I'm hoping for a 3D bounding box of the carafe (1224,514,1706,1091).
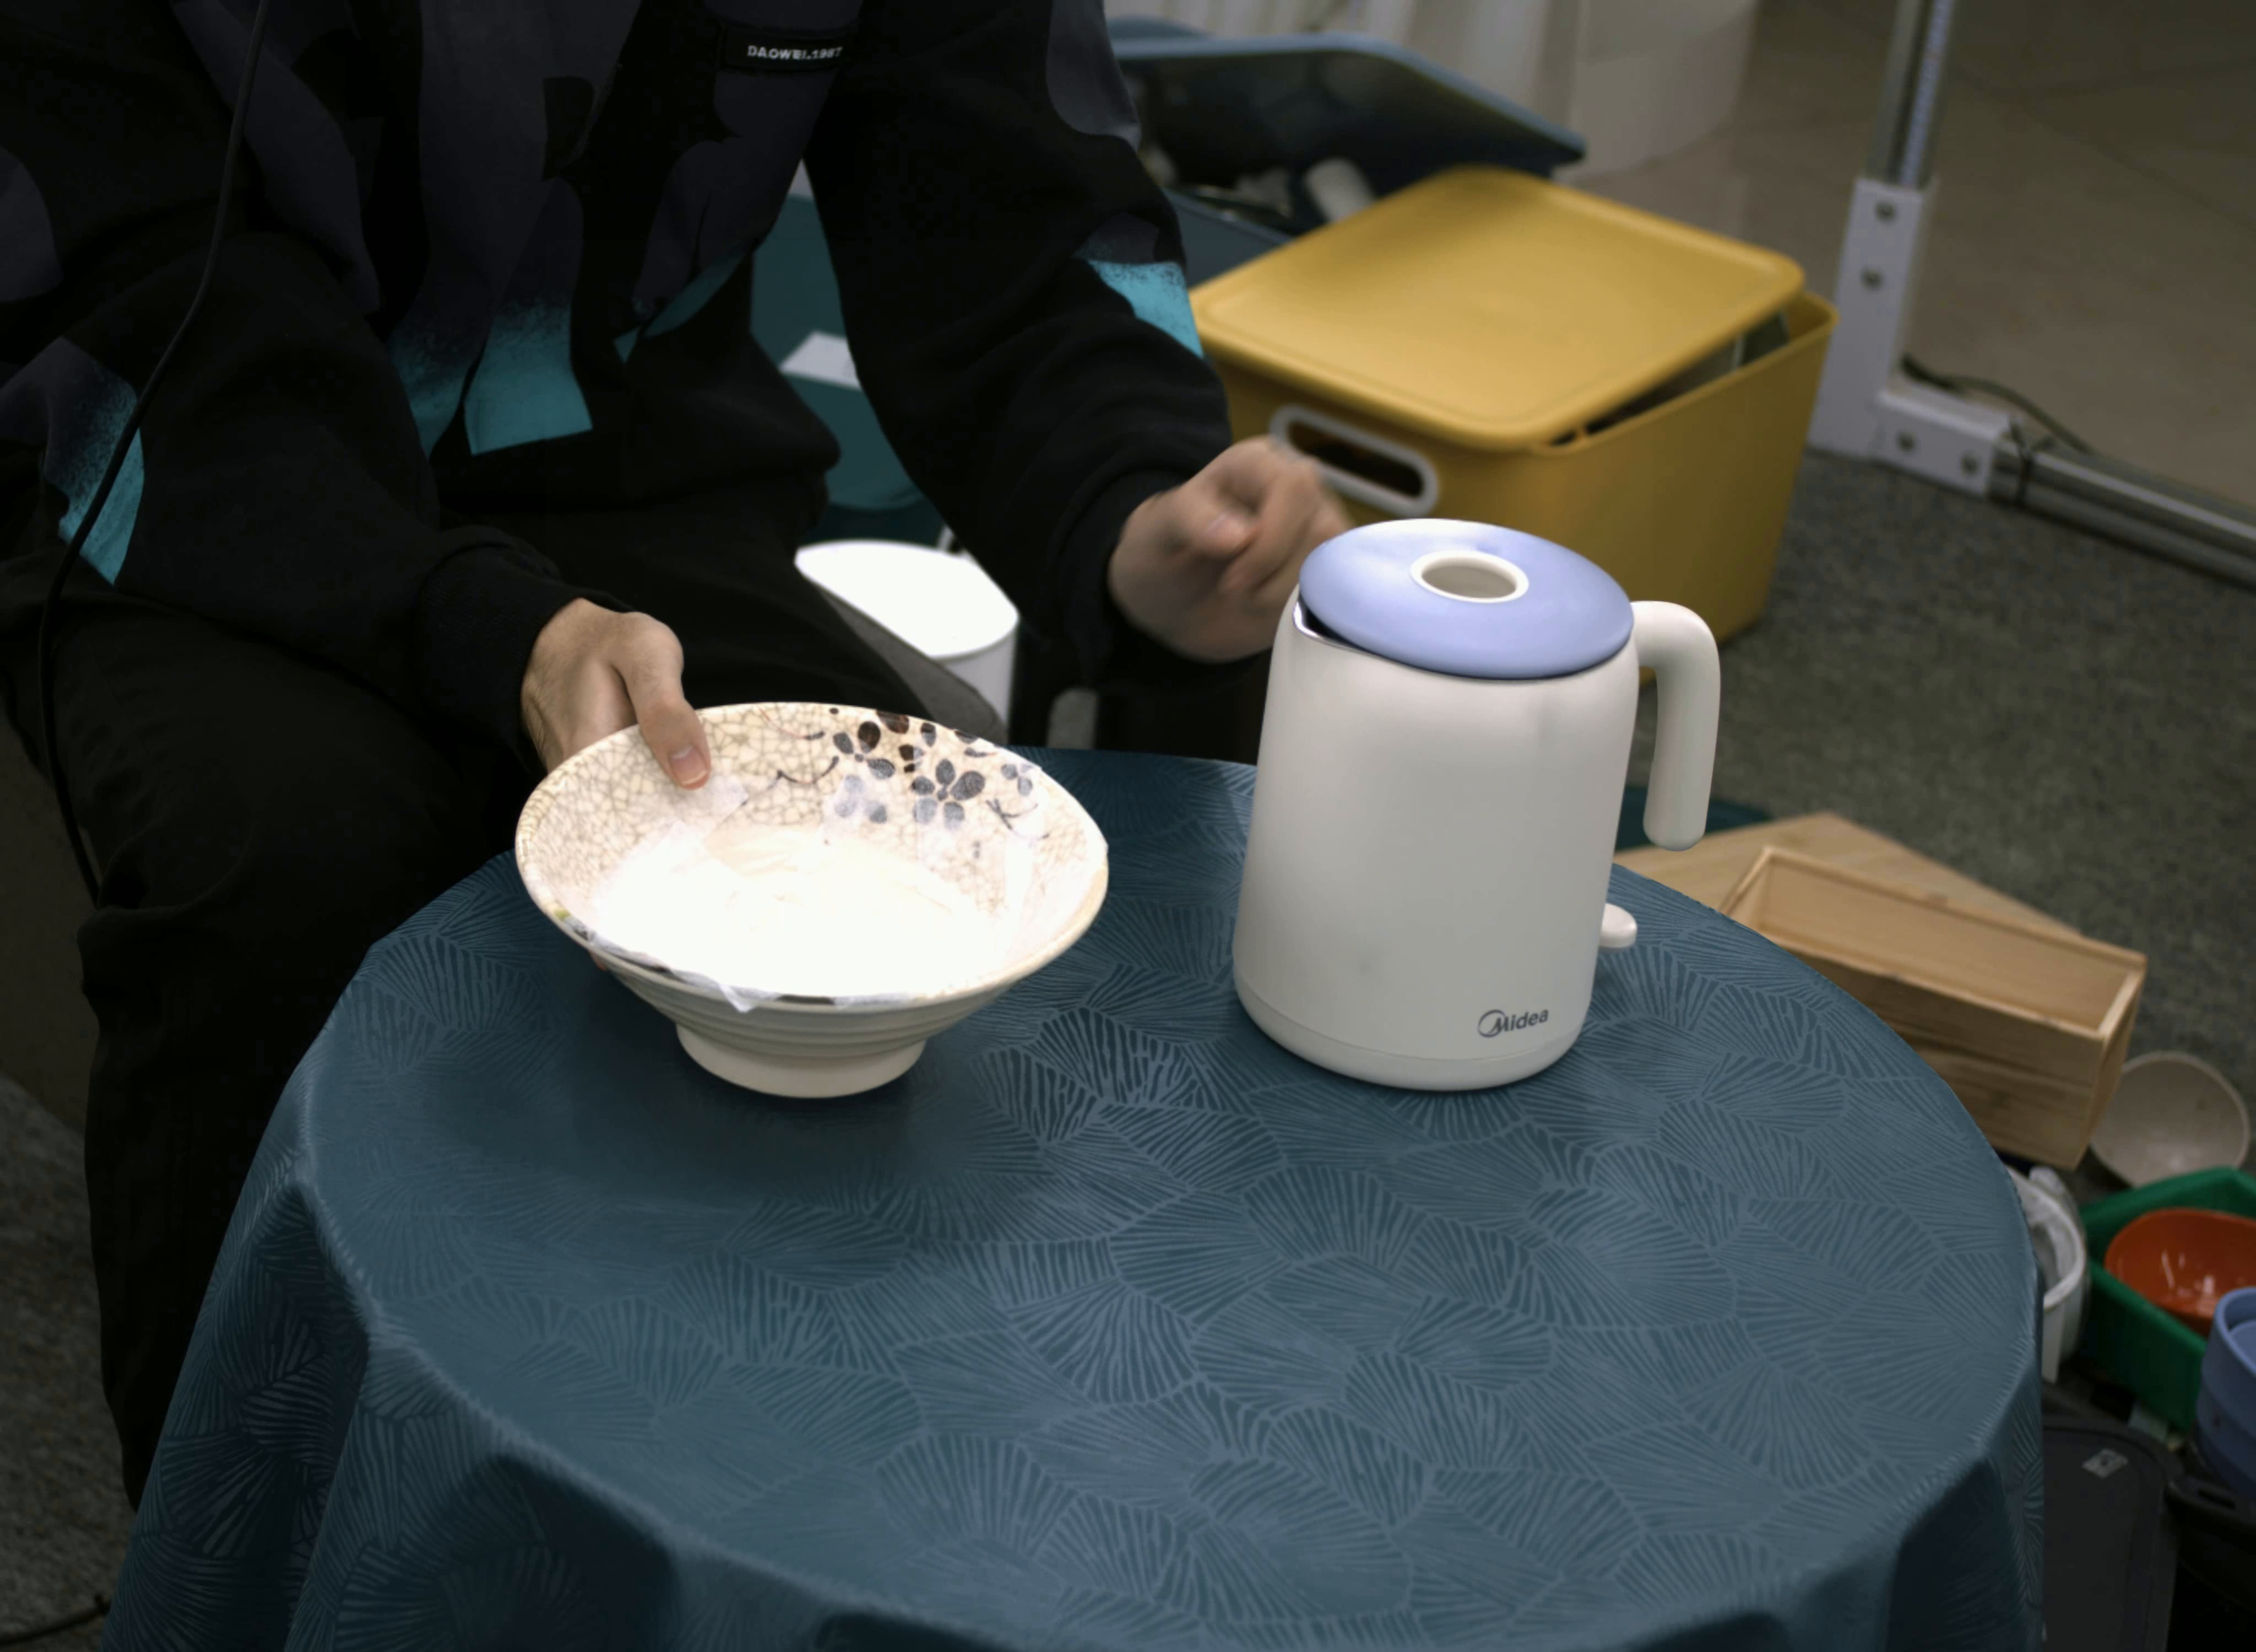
[{"bbox_3d":[0.129,-0.012,1.907,0.190,0.182,0.133,-8,31,-31],"label":"carafe"}]

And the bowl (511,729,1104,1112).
[{"bbox_3d":[-0.112,0.044,1.835,0.203,0.078,0.205,3,26,-2],"label":"bowl"}]
